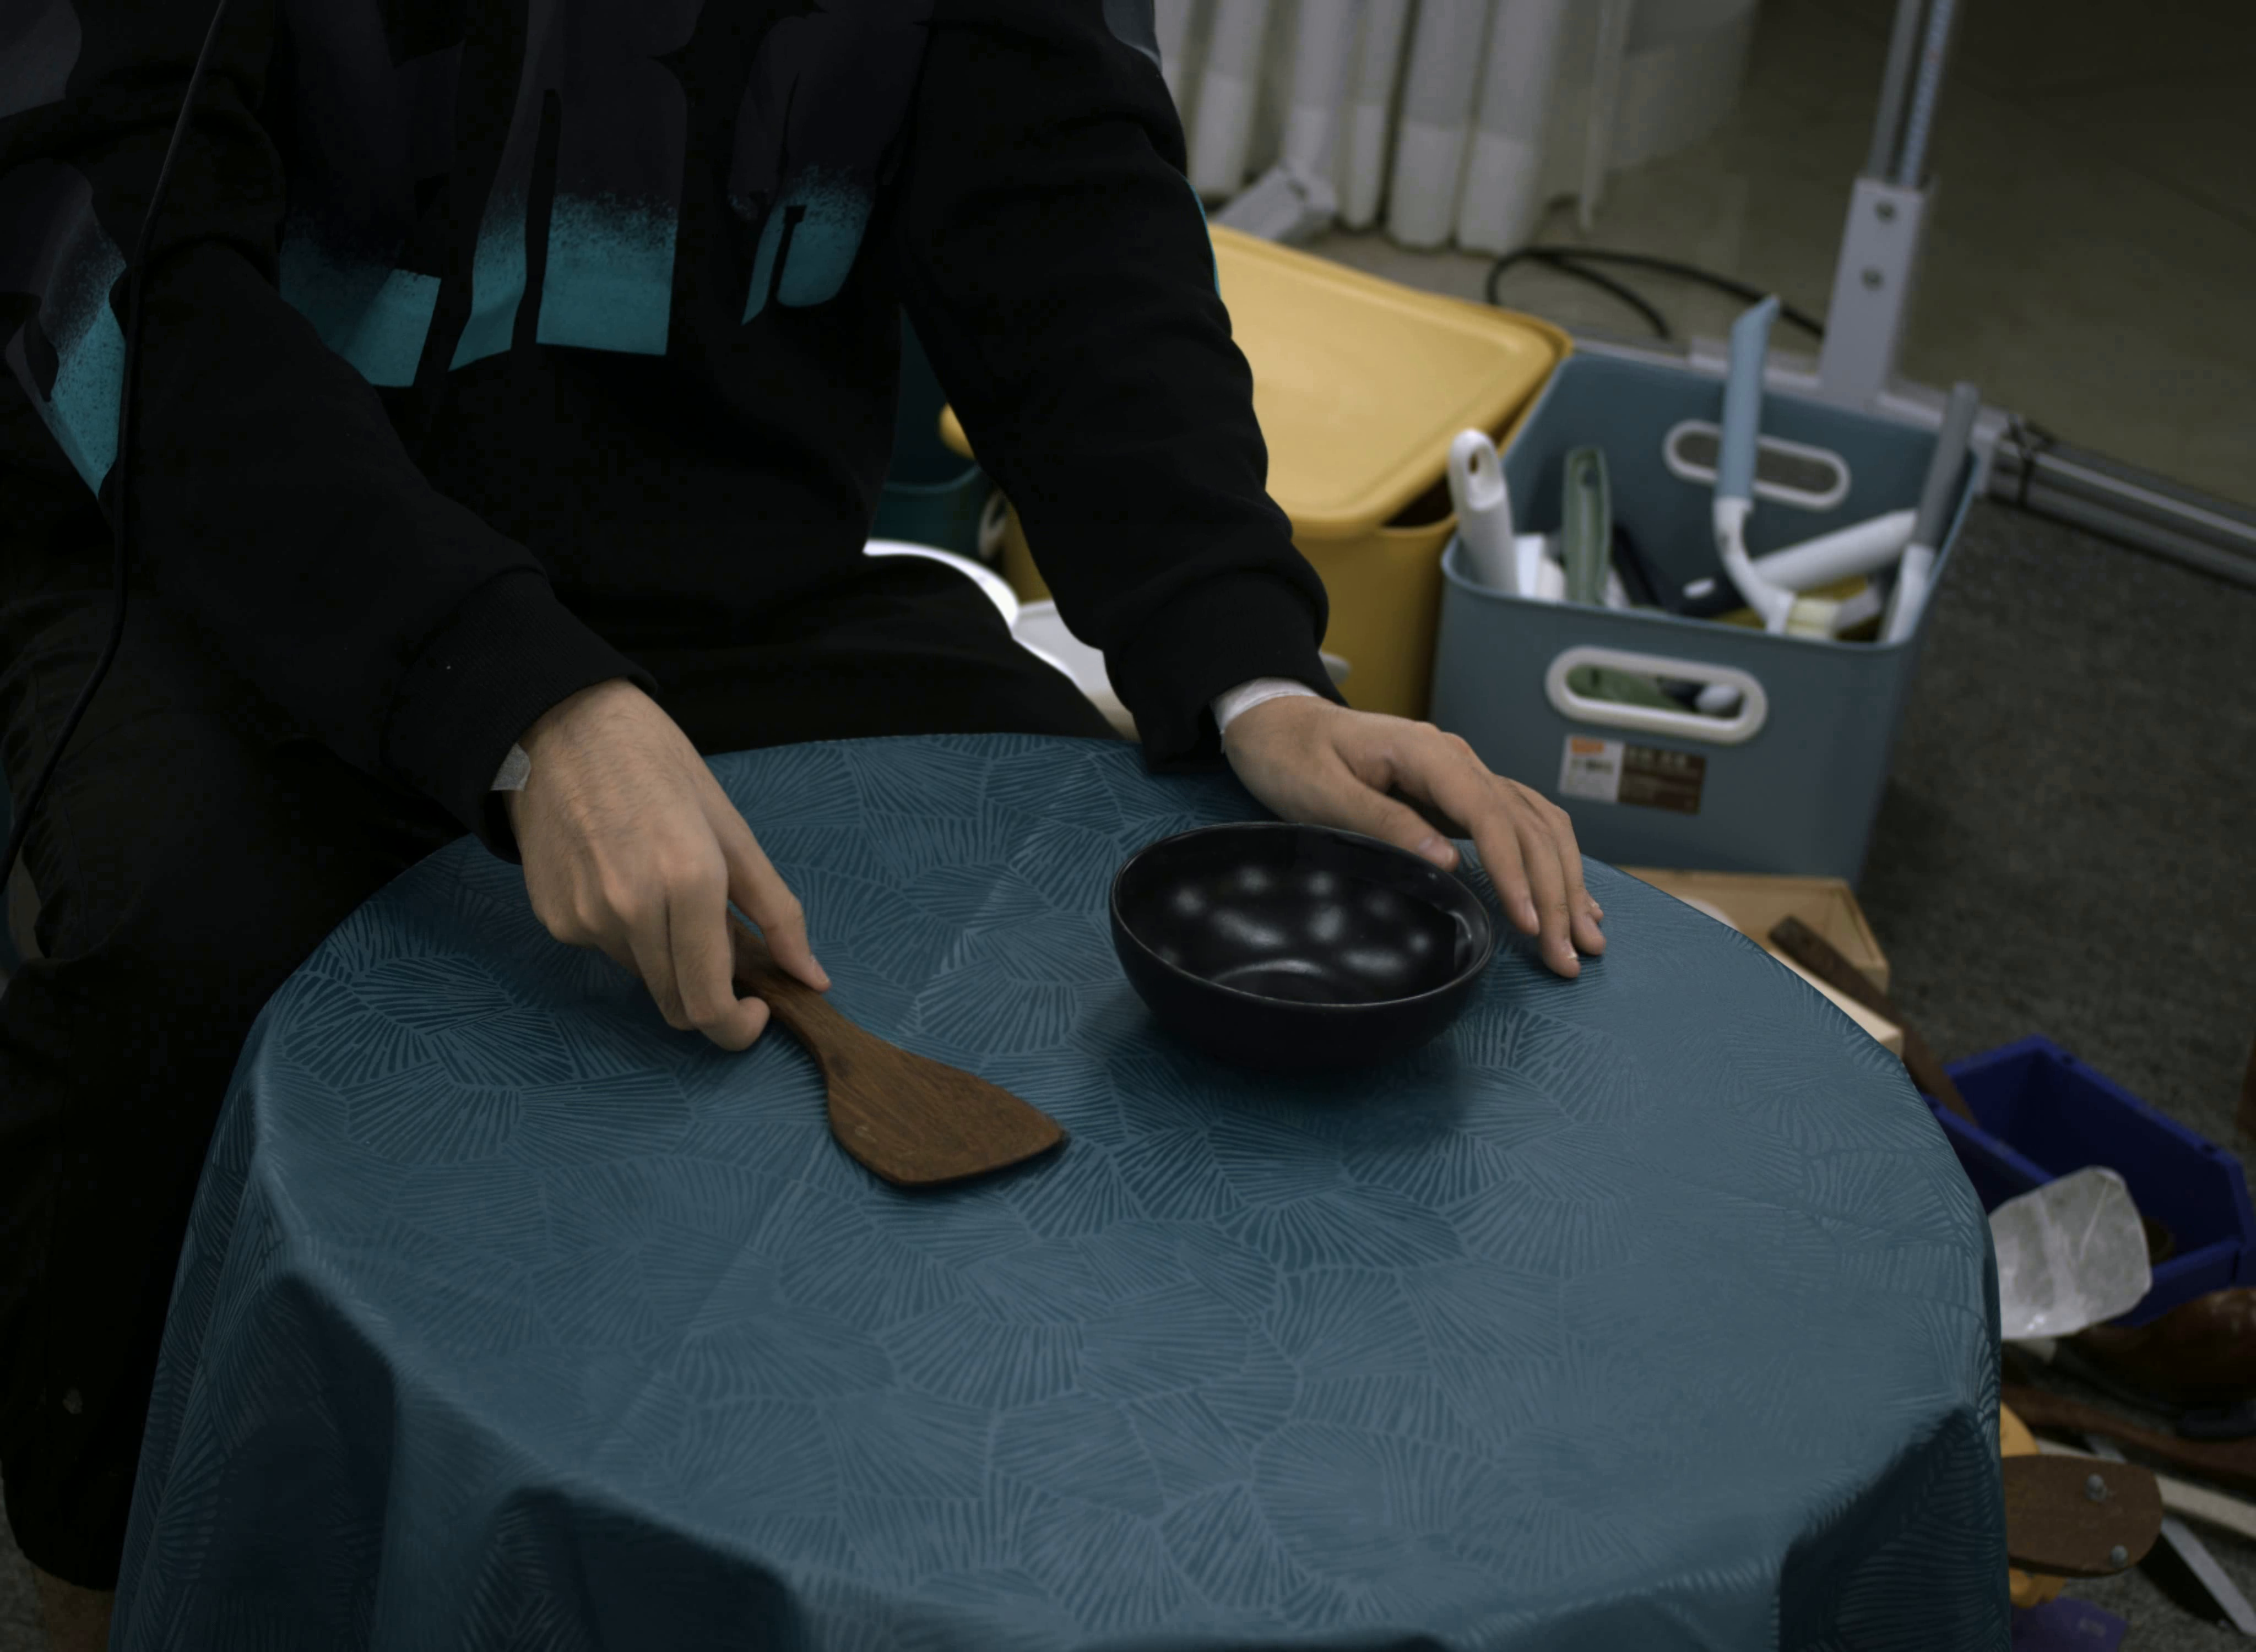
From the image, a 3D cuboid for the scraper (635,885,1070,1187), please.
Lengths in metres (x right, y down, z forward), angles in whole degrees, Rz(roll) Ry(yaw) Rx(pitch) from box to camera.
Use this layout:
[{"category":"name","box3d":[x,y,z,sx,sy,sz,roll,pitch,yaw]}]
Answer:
[{"category":"scraper","box3d":[-0.107,0.072,1.865,0.075,0.011,0.213,-14,35,-36]}]

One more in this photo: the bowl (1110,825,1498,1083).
[{"category":"bowl","box3d":[0.062,0.053,1.902,0.139,0.049,0.141,2,27,-2]}]
